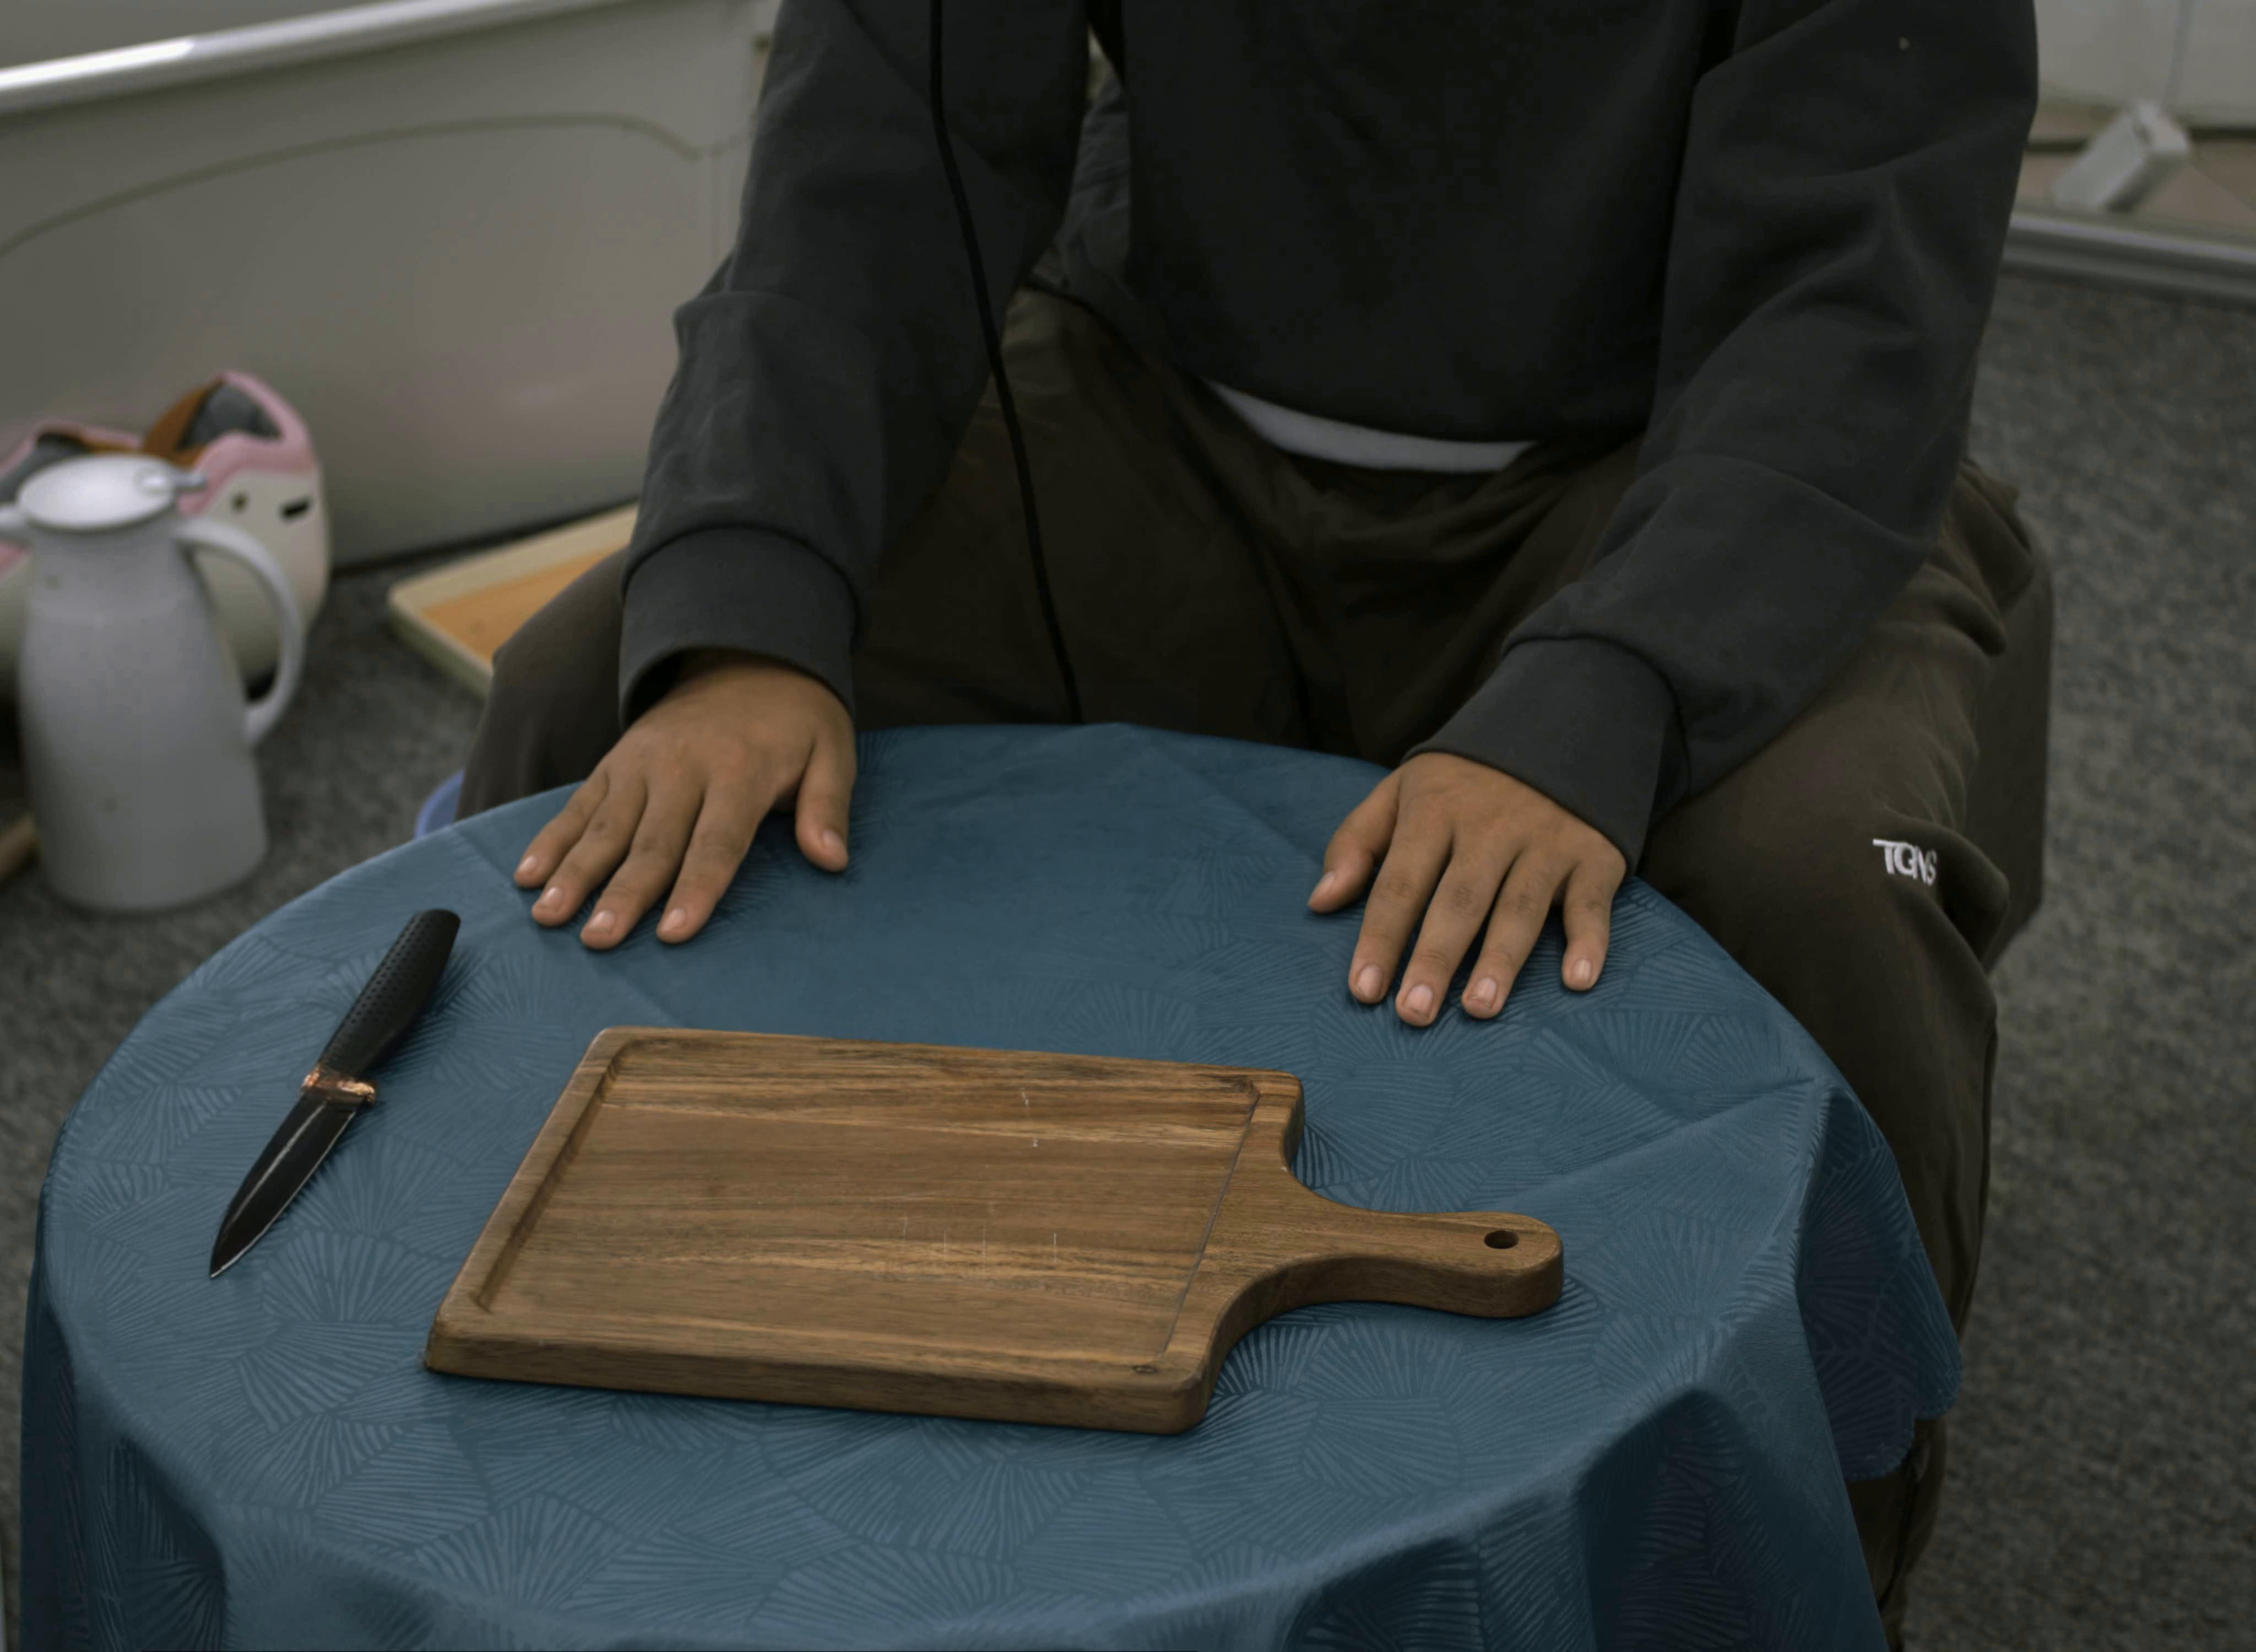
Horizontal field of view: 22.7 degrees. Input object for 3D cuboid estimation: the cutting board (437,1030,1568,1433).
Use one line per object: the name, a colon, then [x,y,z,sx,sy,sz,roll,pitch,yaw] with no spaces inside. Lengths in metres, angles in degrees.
cutting board: [-0.032,0.132,1.826,0.350,0.023,0.204,3,28,11]

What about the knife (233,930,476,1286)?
knife: [-0.269,0.095,1.928,0.026,0.017,0.229,9,30,11]
